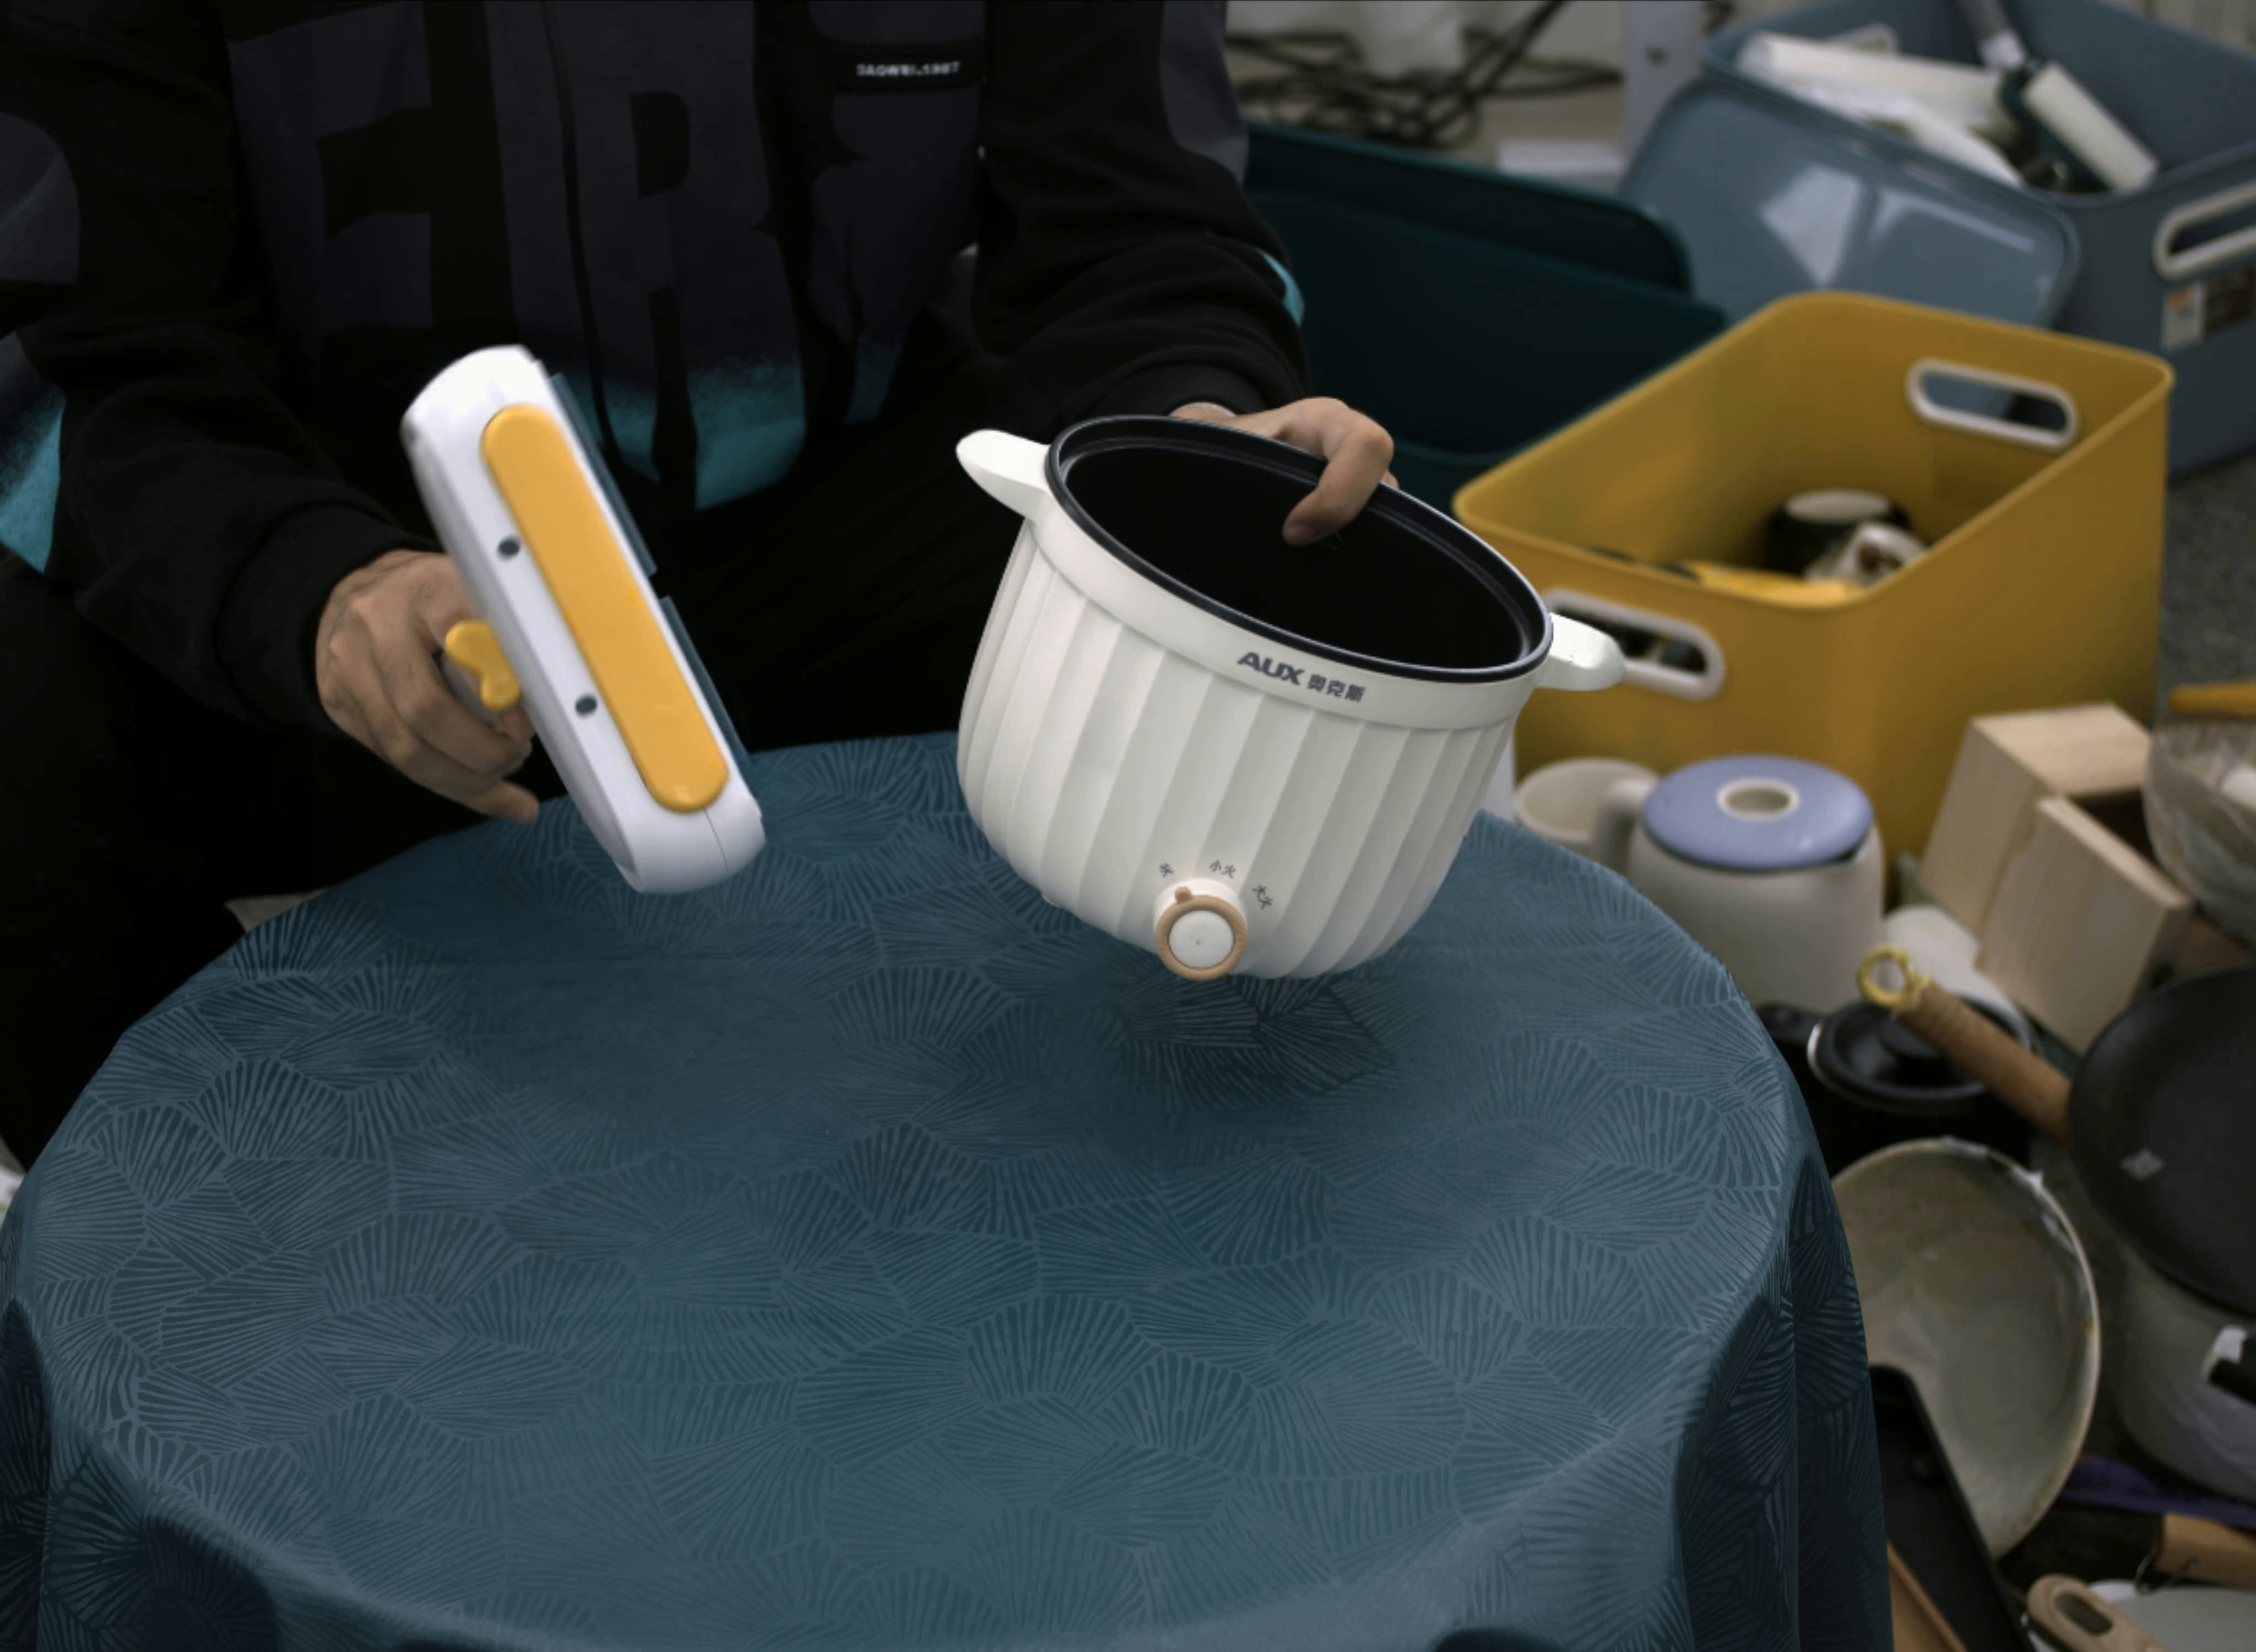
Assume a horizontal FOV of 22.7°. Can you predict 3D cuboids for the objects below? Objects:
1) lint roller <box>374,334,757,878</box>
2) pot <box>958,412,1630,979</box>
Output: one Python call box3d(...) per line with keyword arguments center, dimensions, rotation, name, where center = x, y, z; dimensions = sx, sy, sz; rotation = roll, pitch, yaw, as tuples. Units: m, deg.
box3d(center=(-0.207, -0.057, 1.912), dimensions=(0.075, 0.193, 0.190), rotation=(-33, 0, -20), name="lint roller")
box3d(center=(0.038, -0.036, 1.898), dimensions=(0.239, 0.141, 0.193), rotation=(16, 19, -9), name="pot")
